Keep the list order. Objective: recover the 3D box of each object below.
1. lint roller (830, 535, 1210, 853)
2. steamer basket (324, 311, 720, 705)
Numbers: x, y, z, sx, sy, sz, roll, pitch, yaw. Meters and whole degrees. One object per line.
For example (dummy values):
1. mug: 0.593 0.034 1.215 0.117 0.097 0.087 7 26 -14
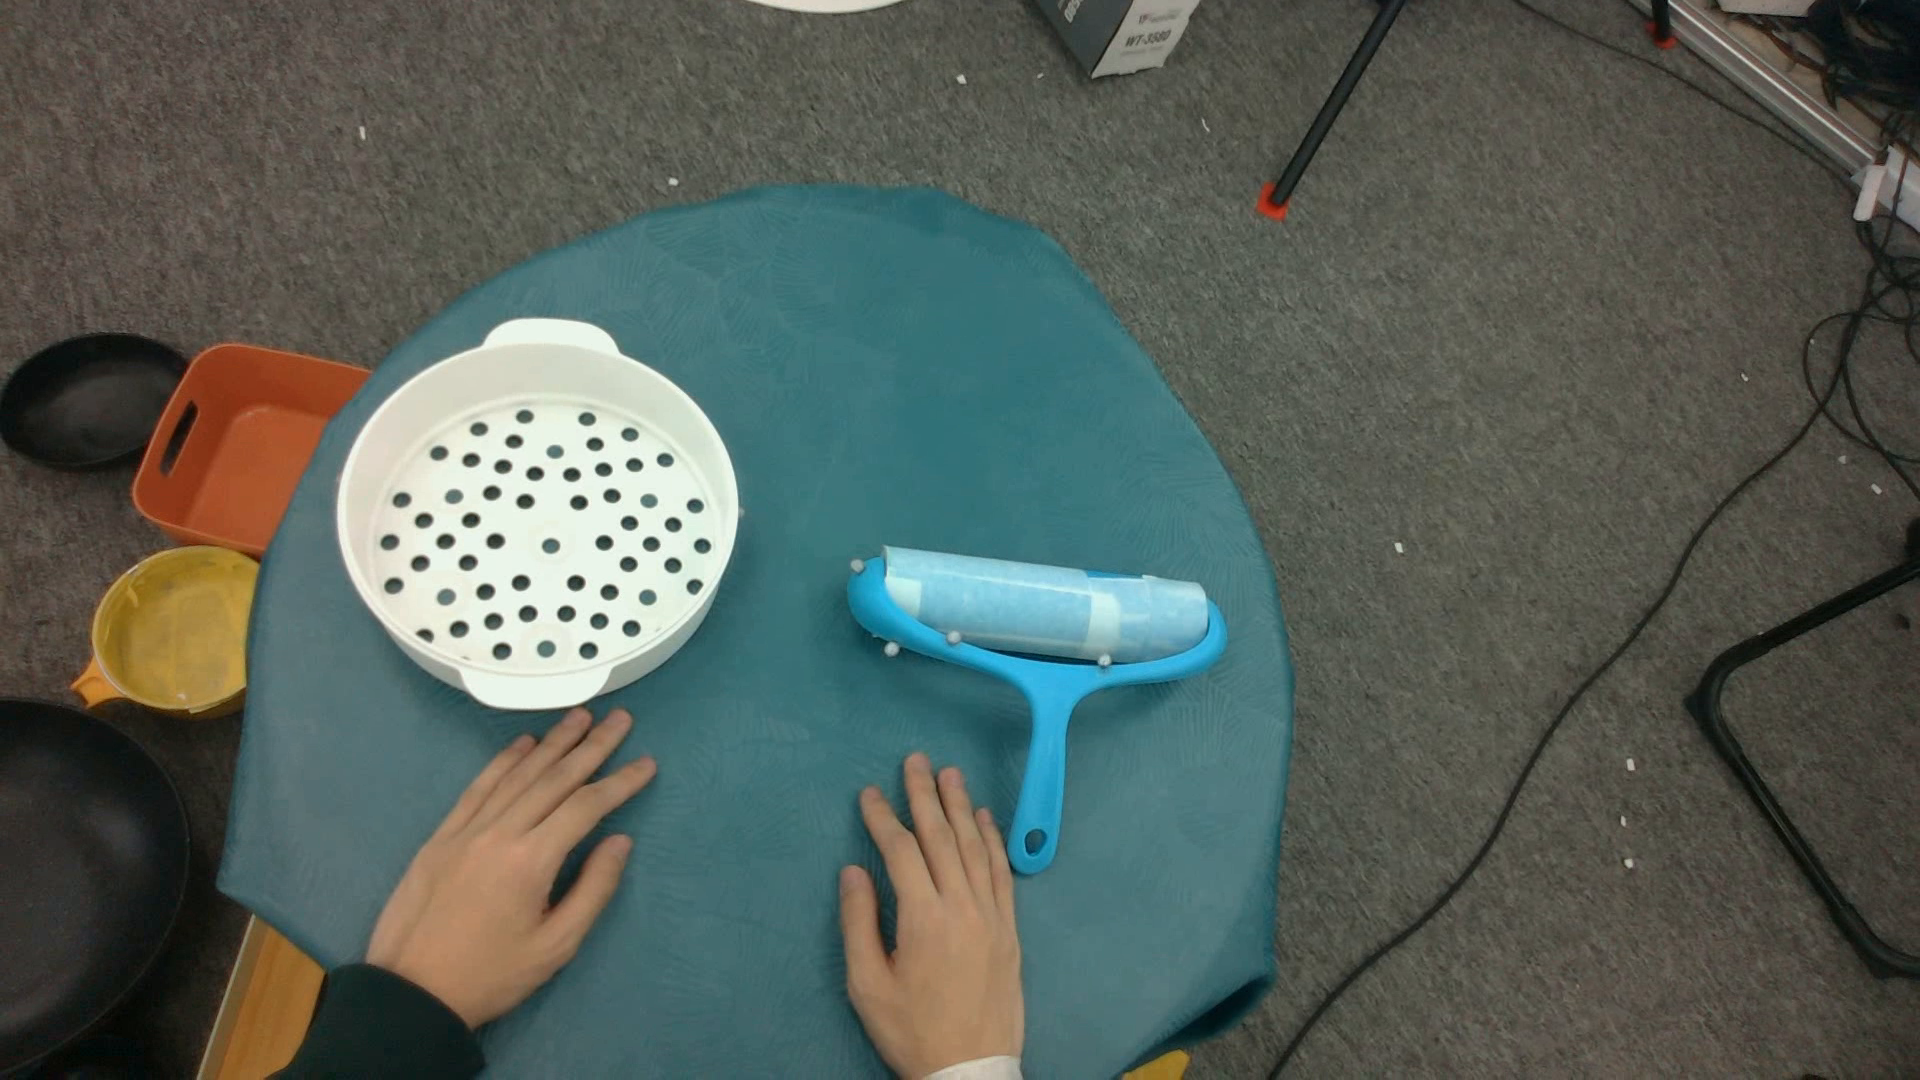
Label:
1. lint roller: 0.042 0.082 0.788 0.229 0.067 0.181 2 64 -15
2. steamer basket: -0.235 -0.013 0.757 0.202 0.069 0.231 -1 67 -13
